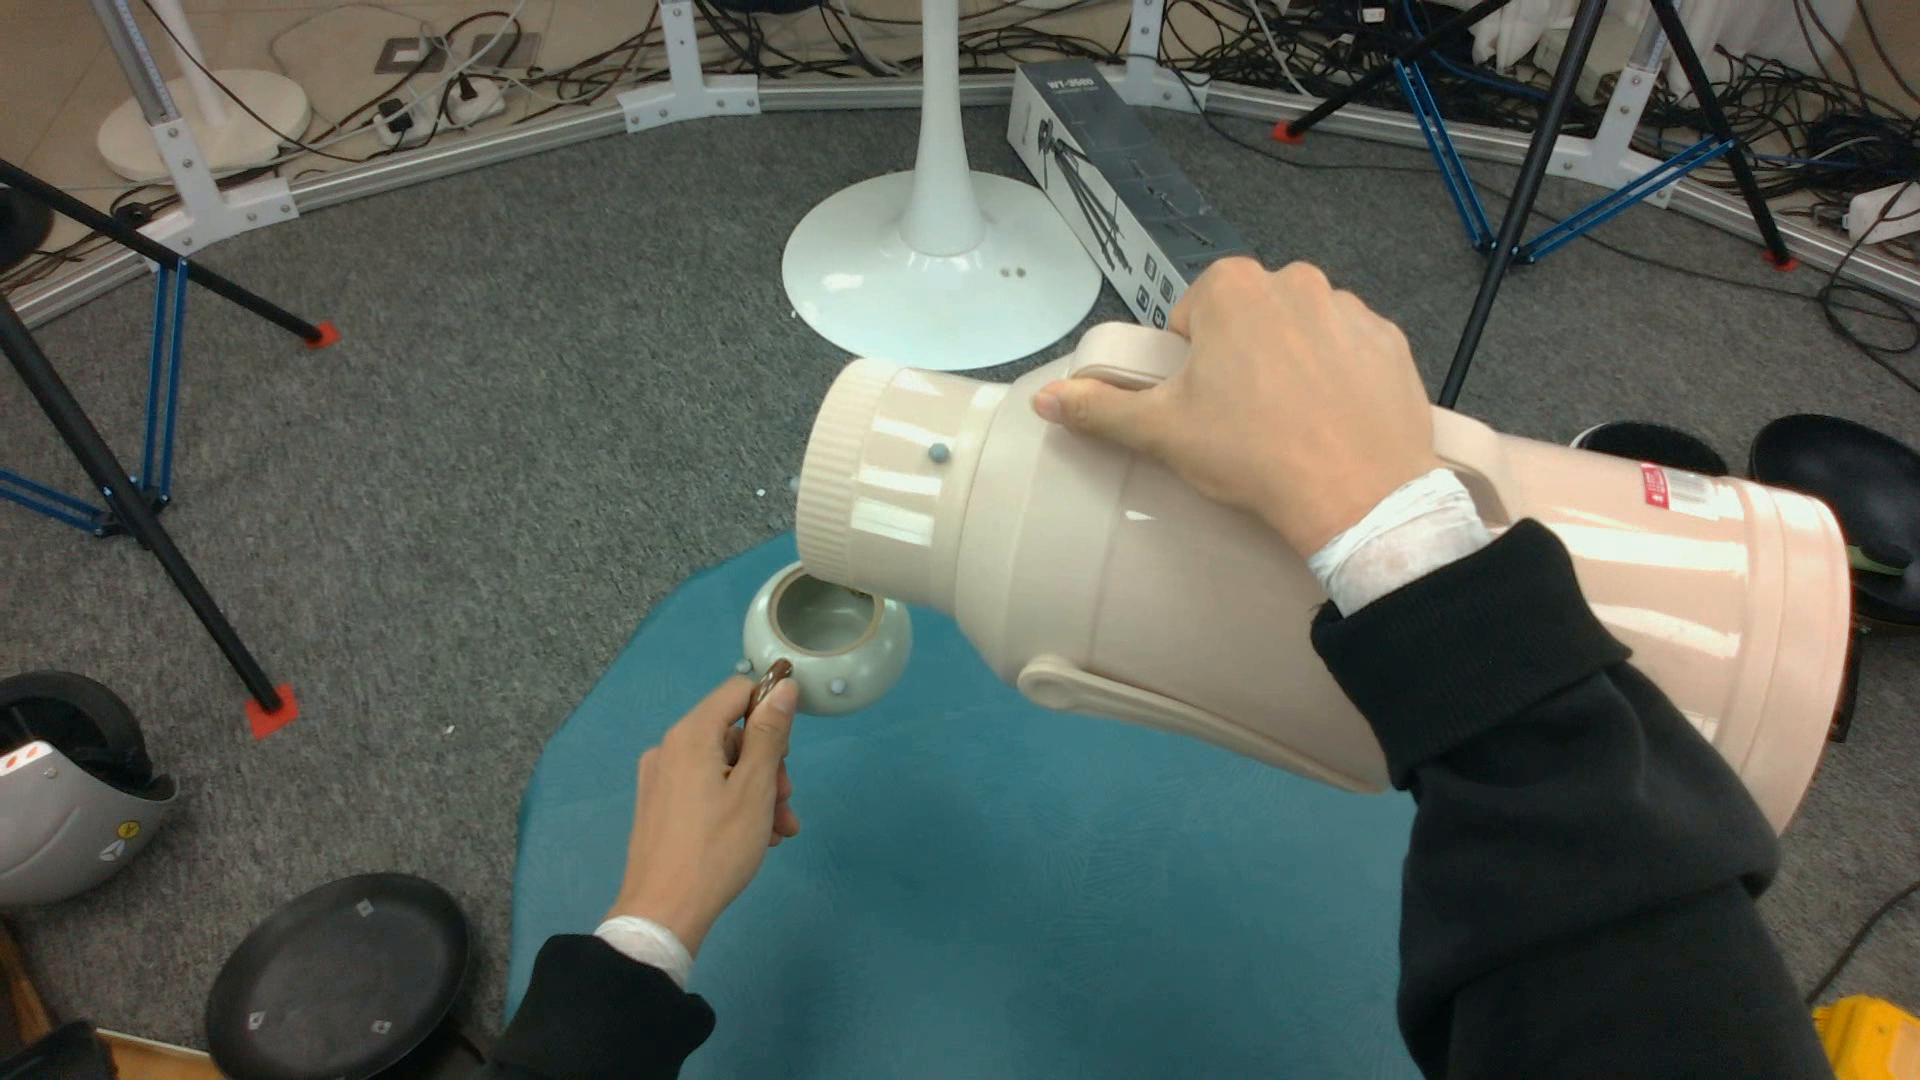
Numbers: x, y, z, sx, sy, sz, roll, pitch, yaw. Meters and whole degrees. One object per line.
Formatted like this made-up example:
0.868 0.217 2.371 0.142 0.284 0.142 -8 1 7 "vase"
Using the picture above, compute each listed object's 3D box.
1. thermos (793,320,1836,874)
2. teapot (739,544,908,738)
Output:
0.132 0.004 0.590 0.406 0.206 0.176 15 54 12 "thermos"
-0.078 0.053 0.741 0.092 0.059 0.128 25 56 13 "teapot"
